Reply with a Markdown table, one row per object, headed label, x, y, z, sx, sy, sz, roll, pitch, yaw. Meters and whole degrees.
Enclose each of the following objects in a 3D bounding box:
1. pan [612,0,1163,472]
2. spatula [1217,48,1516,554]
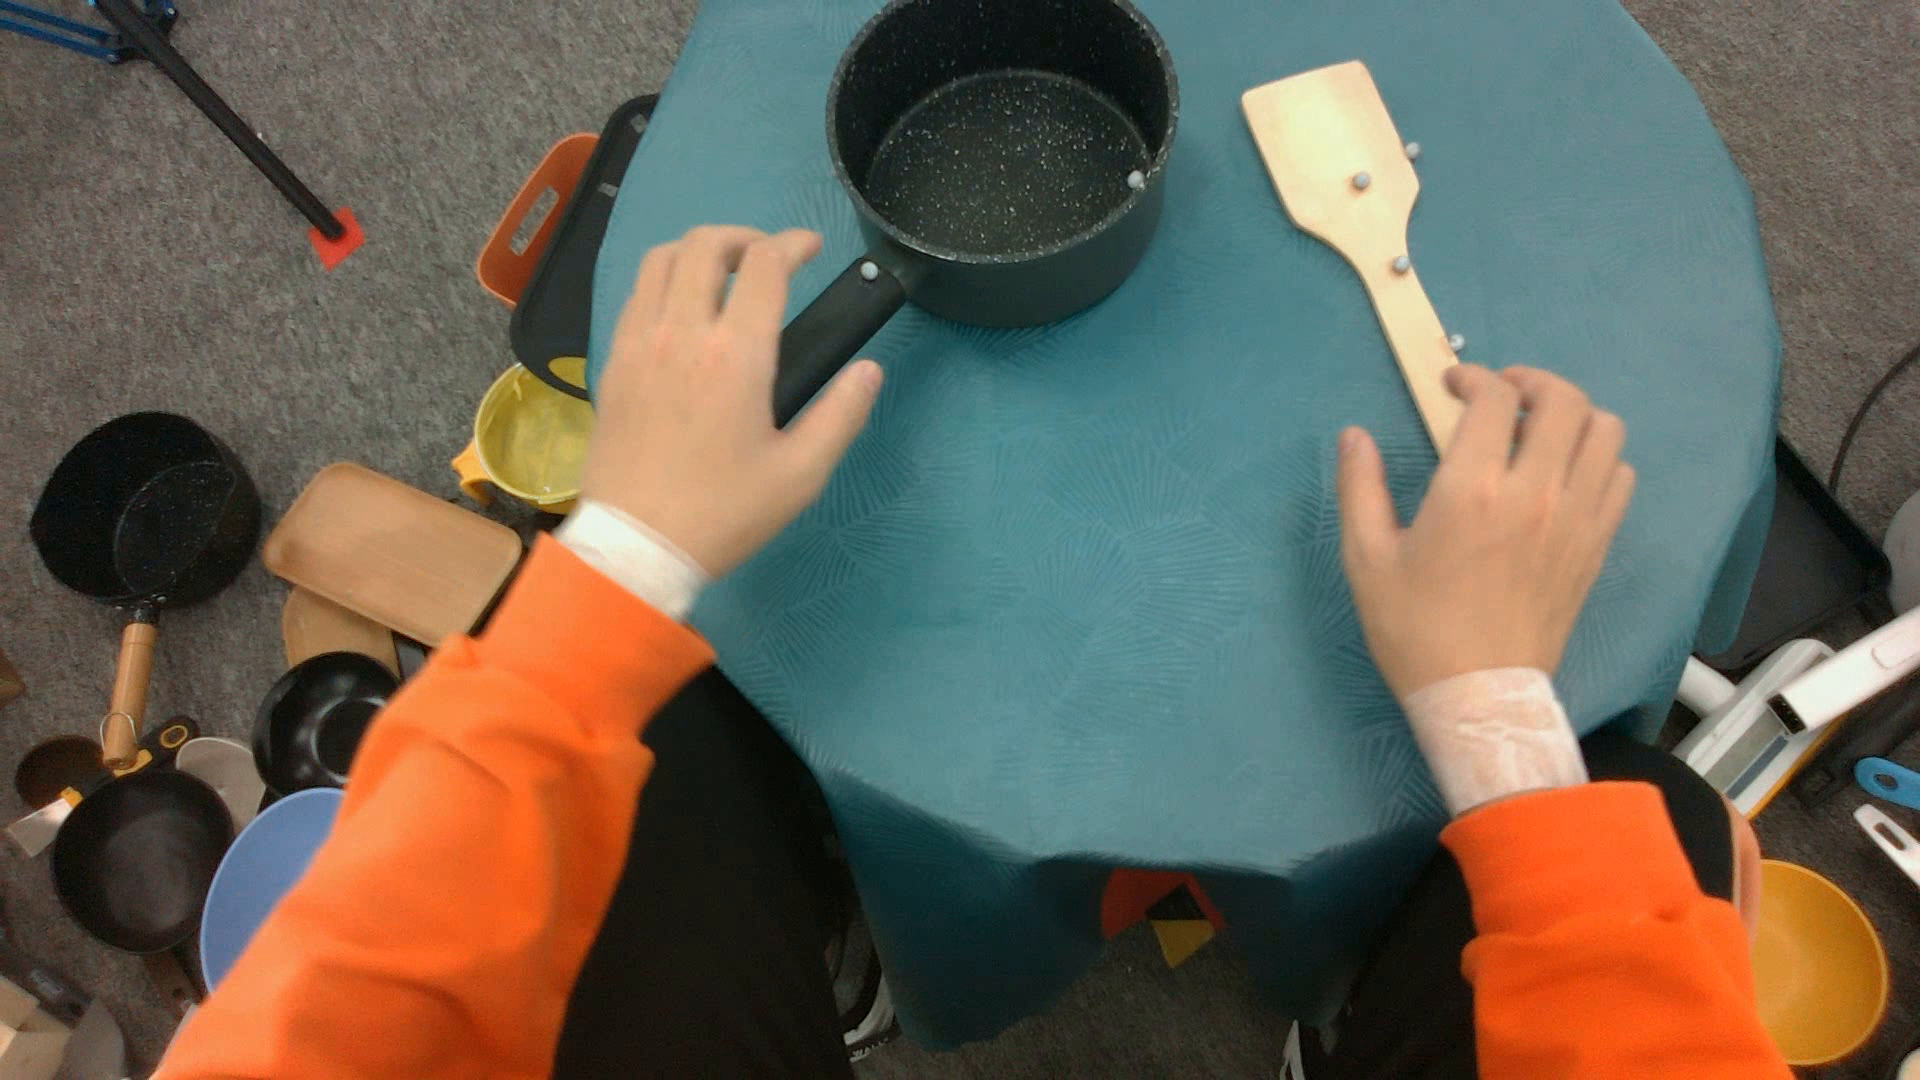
| label | x | y | z | sx | sy | sz | roll | pitch | yaw |
| --- | --- | --- | --- | --- | --- | --- | --- | --- | --- |
| pan | -0.036 | -0.146 | 0.678 | 0.172 | 0.086 | 0.329 | 36 | 75 | 17 |
| spatula | 0.209 | -0.126 | 0.690 | 0.072 | 0.010 | 0.294 | -16 | 69 | -2 |
